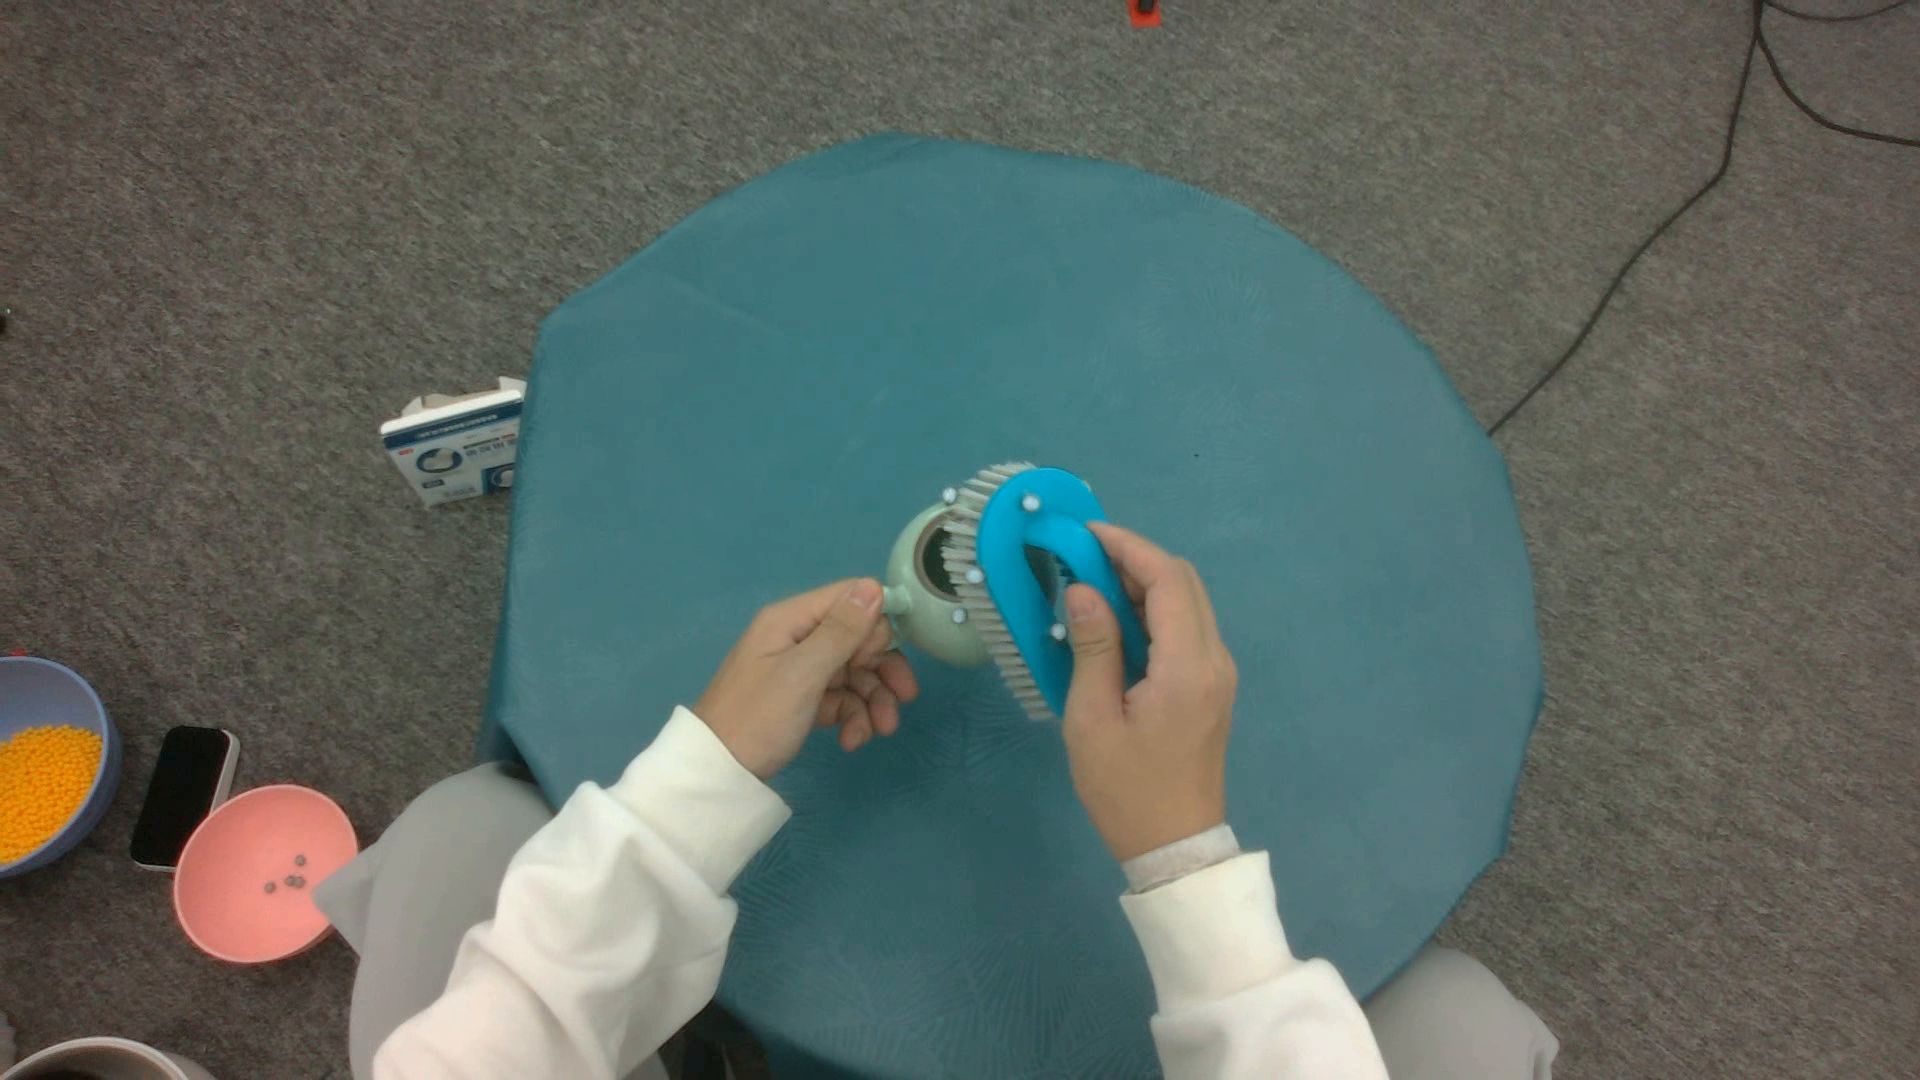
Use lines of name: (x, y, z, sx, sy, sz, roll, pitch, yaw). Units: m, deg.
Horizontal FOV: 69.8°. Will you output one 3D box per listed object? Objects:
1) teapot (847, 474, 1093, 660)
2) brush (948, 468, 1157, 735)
teapot: (0.007, 0.018, 0.711, 0.144, 0.074, 0.088, -28, 64, -12)
brush: (0.056, 0.028, 0.658, 0.085, 0.063, 0.141, -40, 115, -31)
